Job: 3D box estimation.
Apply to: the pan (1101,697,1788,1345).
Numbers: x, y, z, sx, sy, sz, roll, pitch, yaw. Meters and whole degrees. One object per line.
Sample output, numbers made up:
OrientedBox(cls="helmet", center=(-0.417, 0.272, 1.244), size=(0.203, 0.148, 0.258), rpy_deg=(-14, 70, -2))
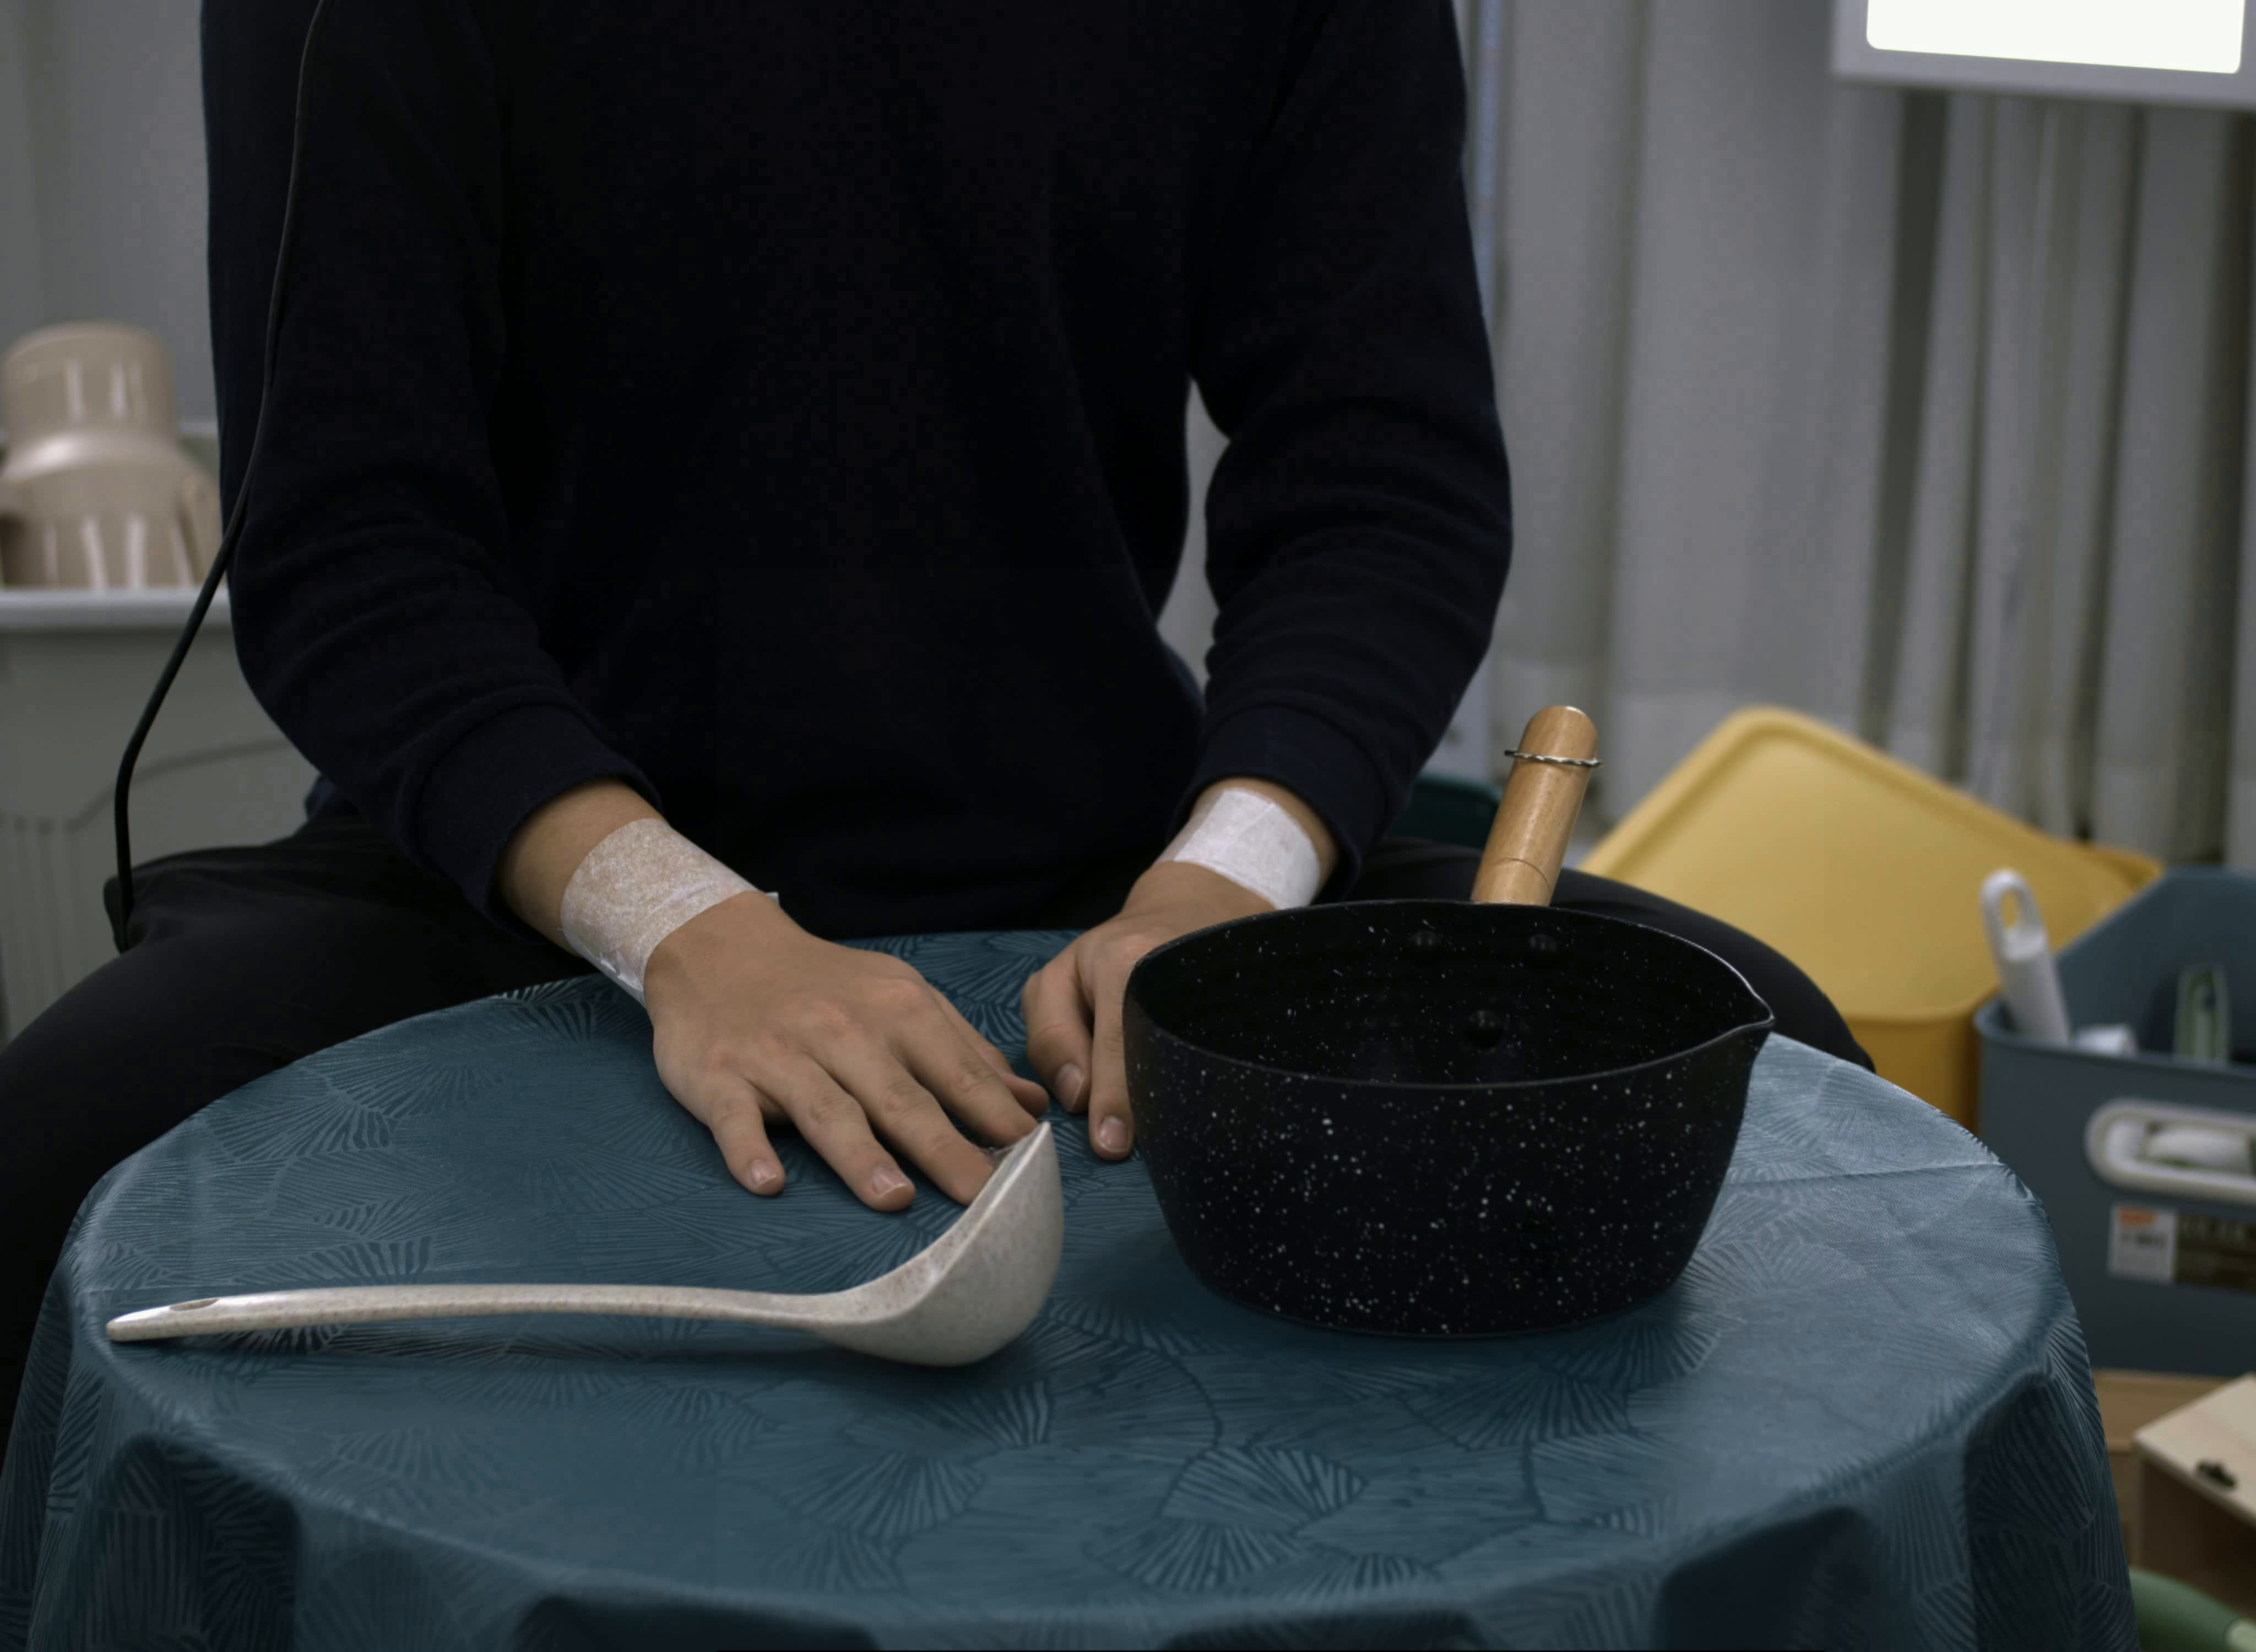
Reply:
OrientedBox(cls="pan", center=(0.107, 0.055, 1.630), size=(0.206, 0.109, 0.342), rpy_deg=(2, 17, 11))

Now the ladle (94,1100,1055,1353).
OrientedBox(cls="ladle", center=(-0.157, 0.113, 1.484), size=(0.273, 0.069, 0.089), rpy_deg=(-1, 2, 4))
